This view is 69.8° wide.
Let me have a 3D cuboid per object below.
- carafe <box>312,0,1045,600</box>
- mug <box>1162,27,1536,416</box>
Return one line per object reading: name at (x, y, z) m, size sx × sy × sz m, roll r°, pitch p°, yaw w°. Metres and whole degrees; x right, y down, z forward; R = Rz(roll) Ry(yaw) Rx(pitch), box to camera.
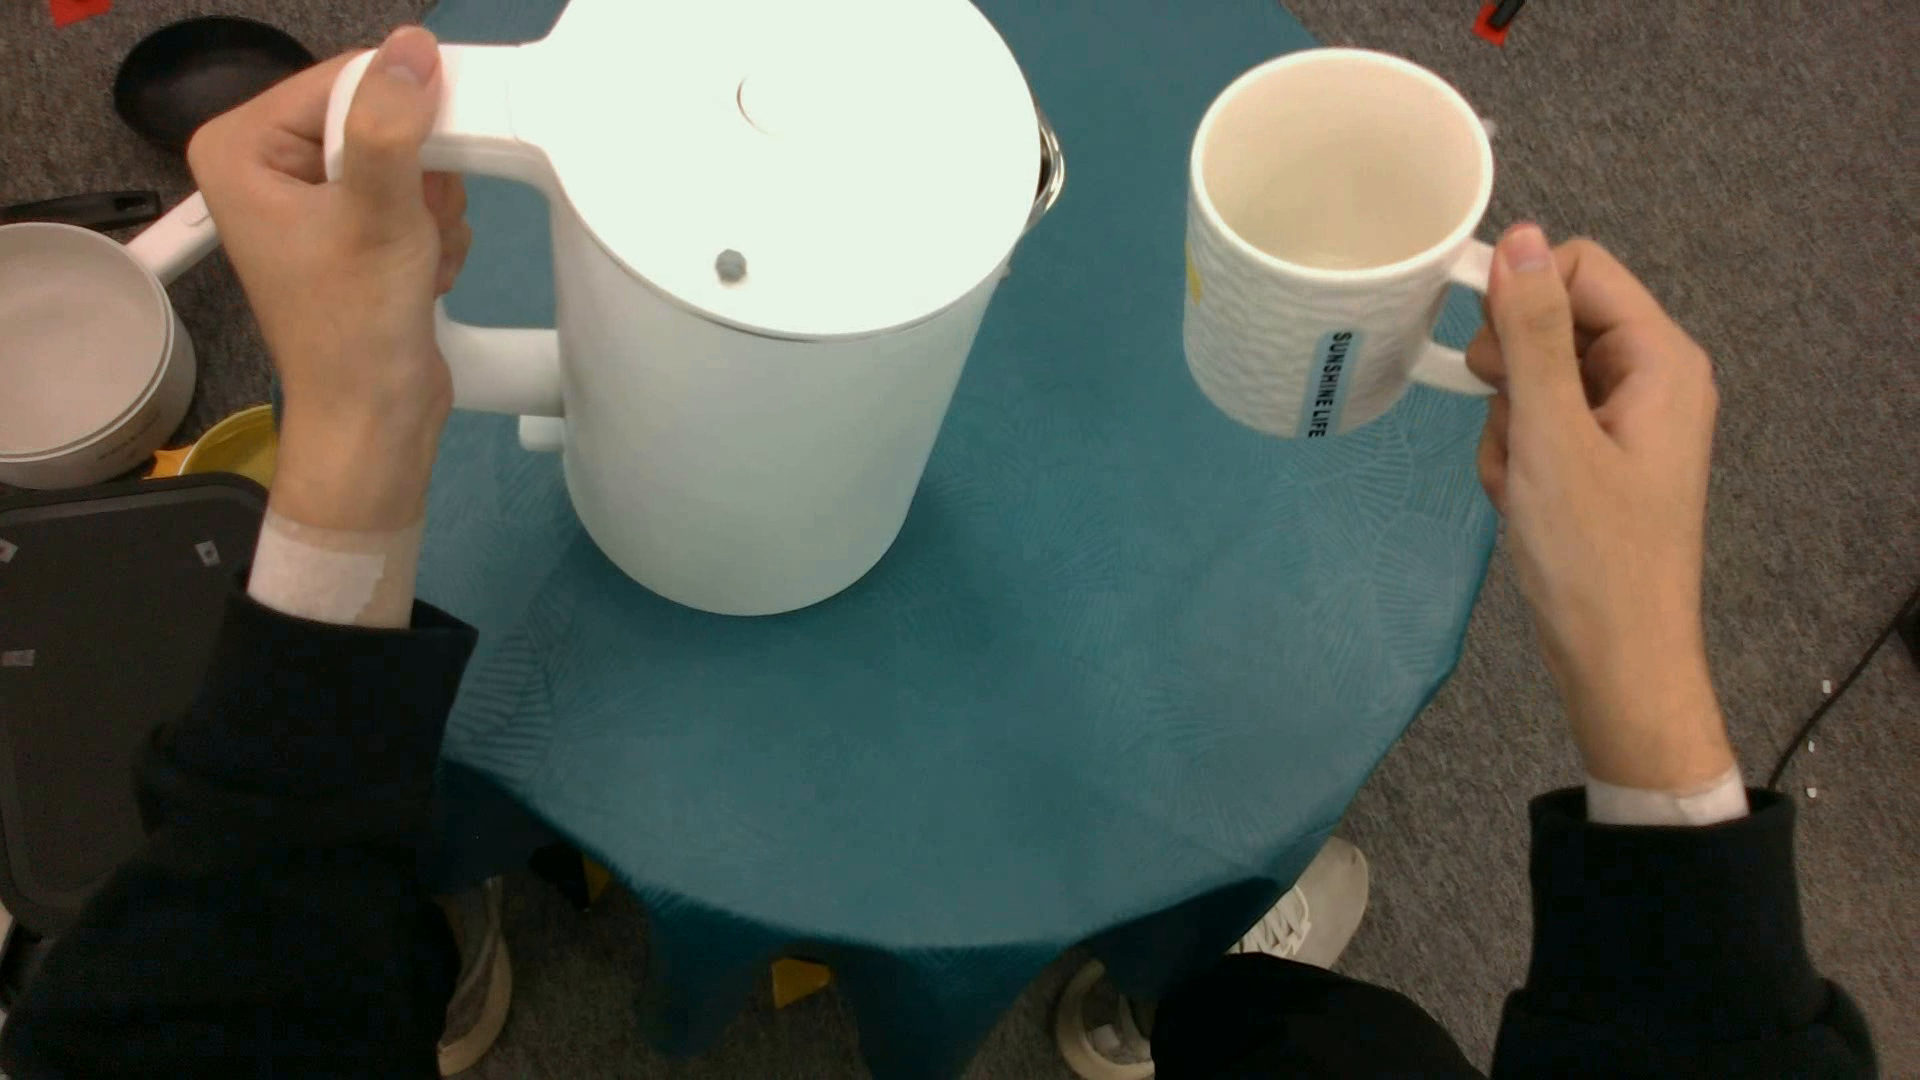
carafe at (-0.102, -0.088, 0.494) m, size 0.213 × 0.239 × 0.152 m, roll 1°, pitch 67°, yaw -15°
mug at (0.123, -0.092, 0.448) m, size 0.118 × 0.101 × 0.085 m, roll 30°, pitch 72°, yaw 17°
